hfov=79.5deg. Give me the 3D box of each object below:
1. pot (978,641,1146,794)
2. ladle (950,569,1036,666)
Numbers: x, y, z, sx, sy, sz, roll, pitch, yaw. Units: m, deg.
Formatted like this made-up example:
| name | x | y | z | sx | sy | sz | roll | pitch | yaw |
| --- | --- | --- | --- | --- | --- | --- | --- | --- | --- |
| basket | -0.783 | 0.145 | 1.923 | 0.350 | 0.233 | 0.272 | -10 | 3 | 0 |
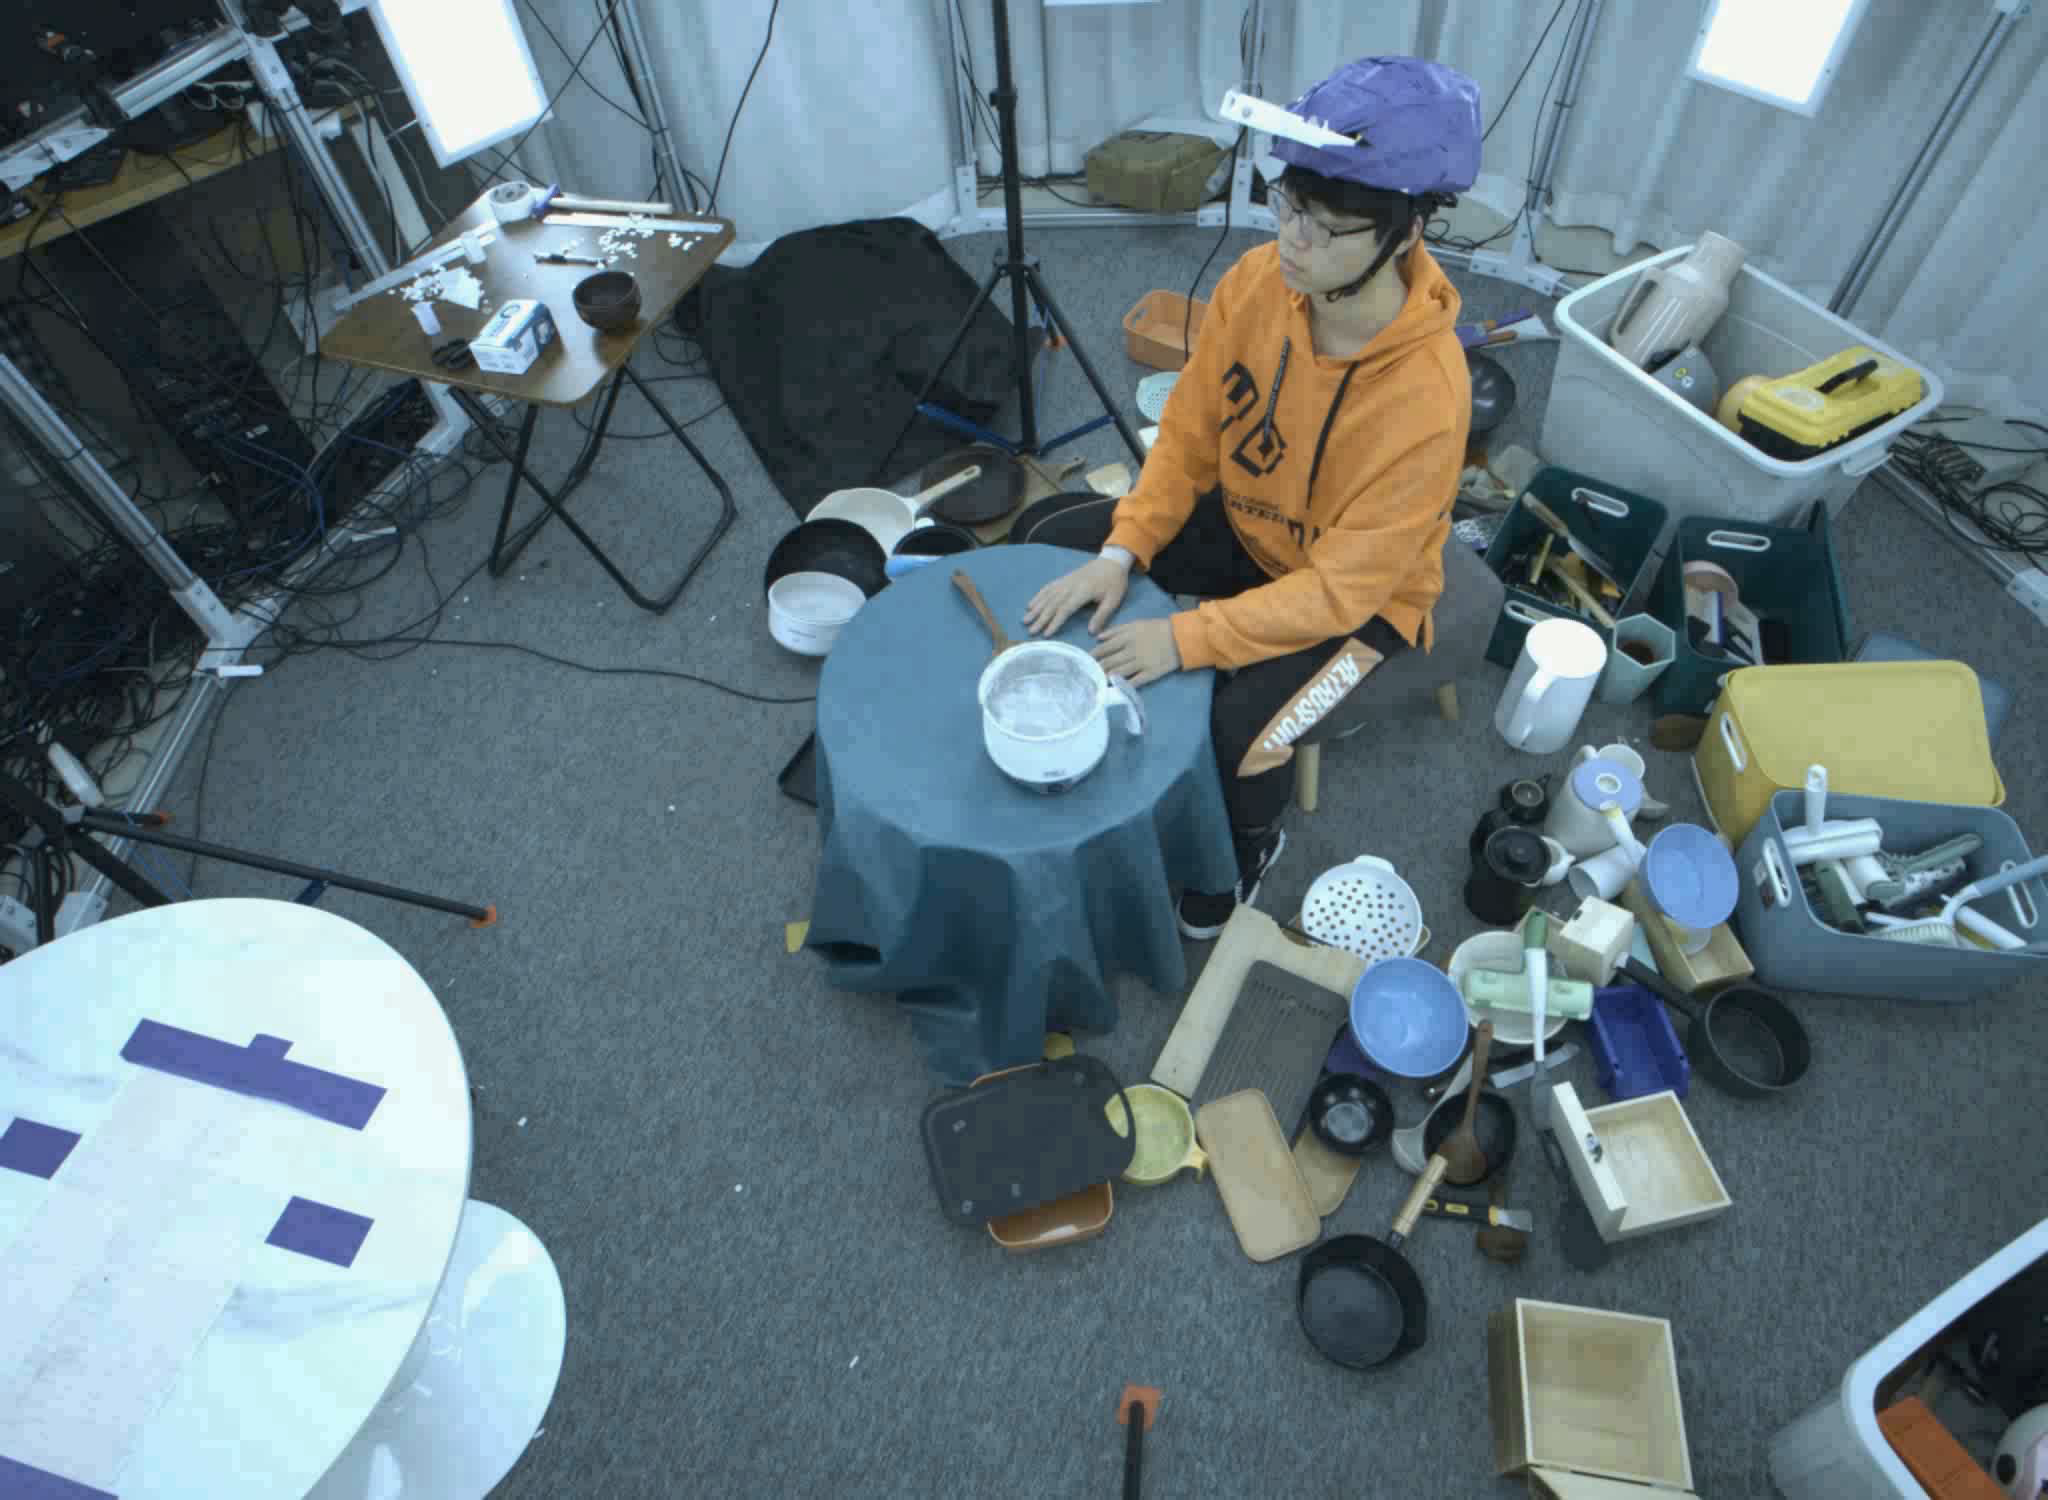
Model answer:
| name | x | y | z | sx | sy | sz | roll | pitch | yaw |
| --- | --- | --- | --- | --- | --- | --- | --- | --- | --- |
| pot | 0.056 | -0.049 | 1.735 | 0.234 | 0.138 | 0.176 | -9 | 55 | -3 |
| ladle | -0.059 | -0.213 | 1.900 | 0.077 | 0.066 | 0.255 | -21 | 57 | -15 |
